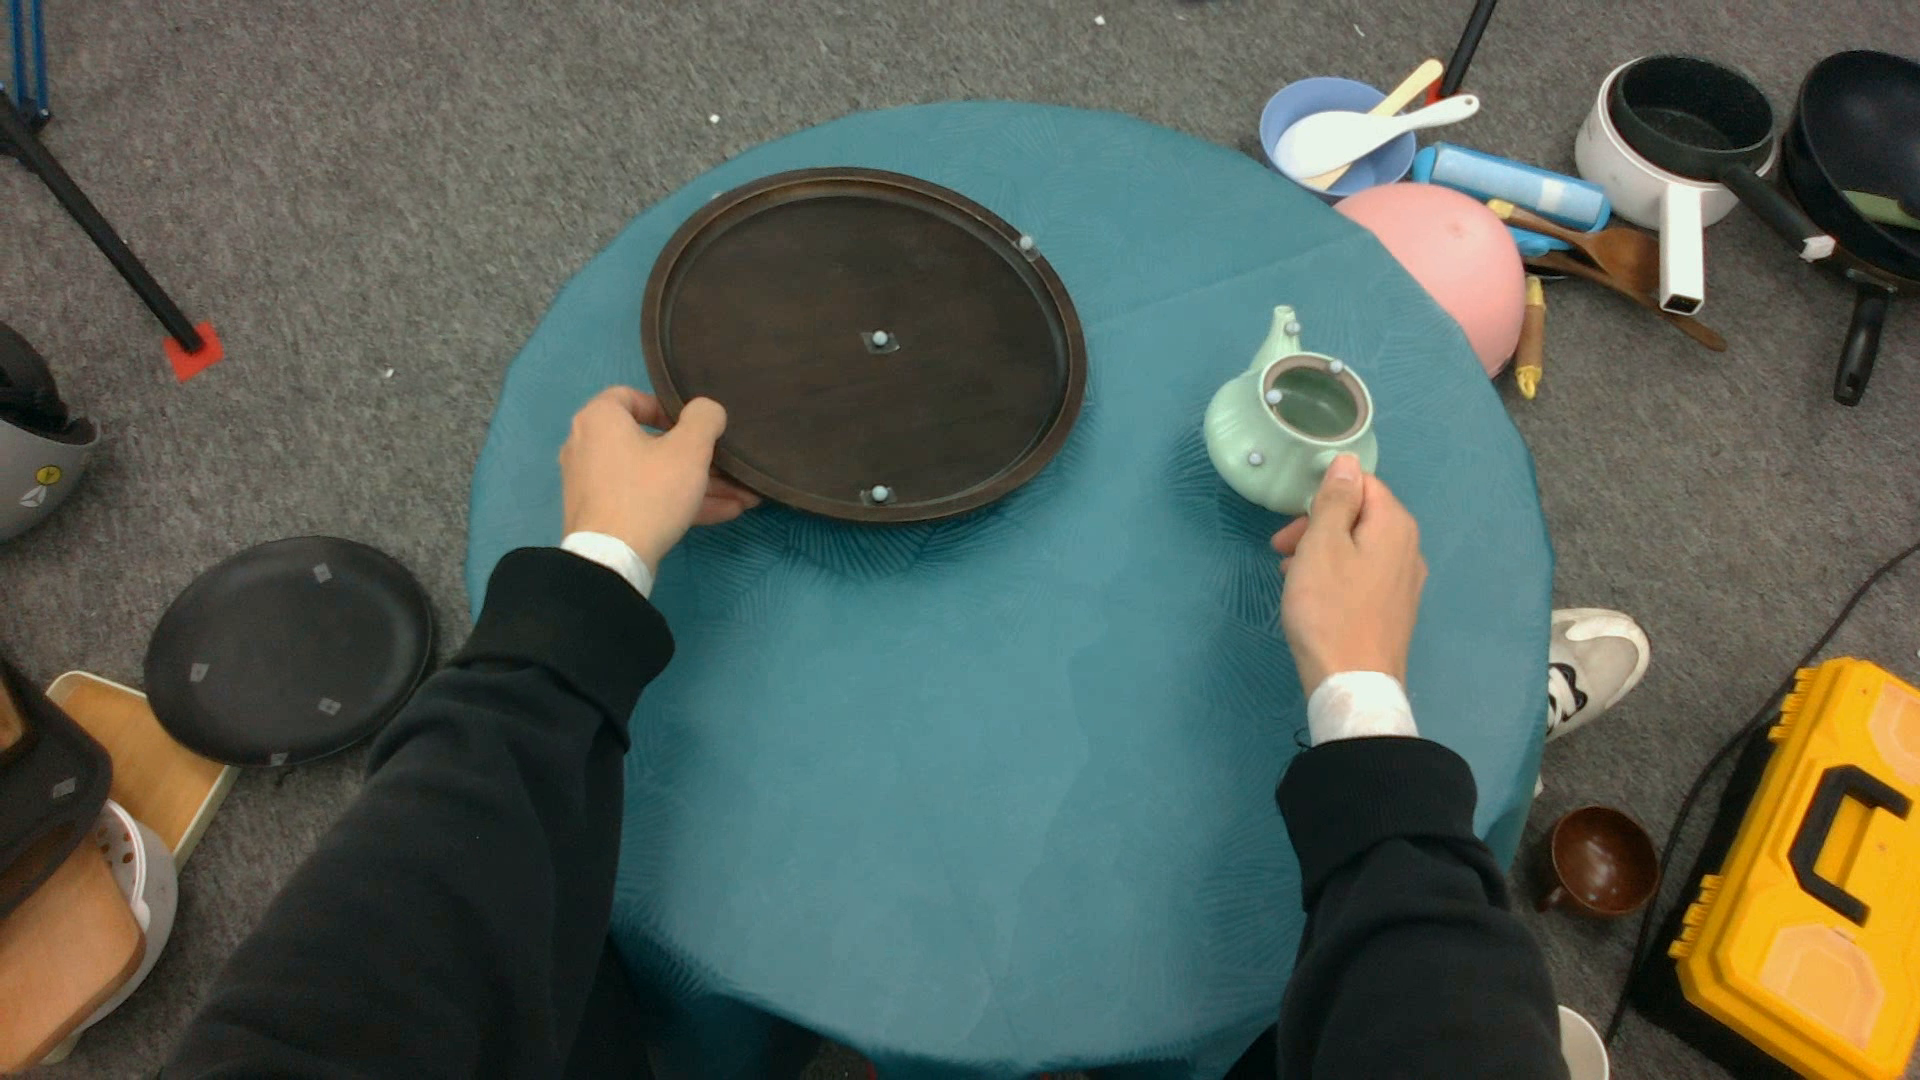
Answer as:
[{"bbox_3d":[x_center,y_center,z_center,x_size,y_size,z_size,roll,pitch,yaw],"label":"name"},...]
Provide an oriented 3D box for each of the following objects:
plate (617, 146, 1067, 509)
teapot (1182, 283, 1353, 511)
[{"bbox_3d":[-0.064,-0.125,0.779,0.255,0.029,0.256,6,58,-10],"label":"plate"},{"bbox_3d":[0.172,-0.070,0.745,0.096,0.061,0.137,-5,59,-16],"label":"teapot"}]
